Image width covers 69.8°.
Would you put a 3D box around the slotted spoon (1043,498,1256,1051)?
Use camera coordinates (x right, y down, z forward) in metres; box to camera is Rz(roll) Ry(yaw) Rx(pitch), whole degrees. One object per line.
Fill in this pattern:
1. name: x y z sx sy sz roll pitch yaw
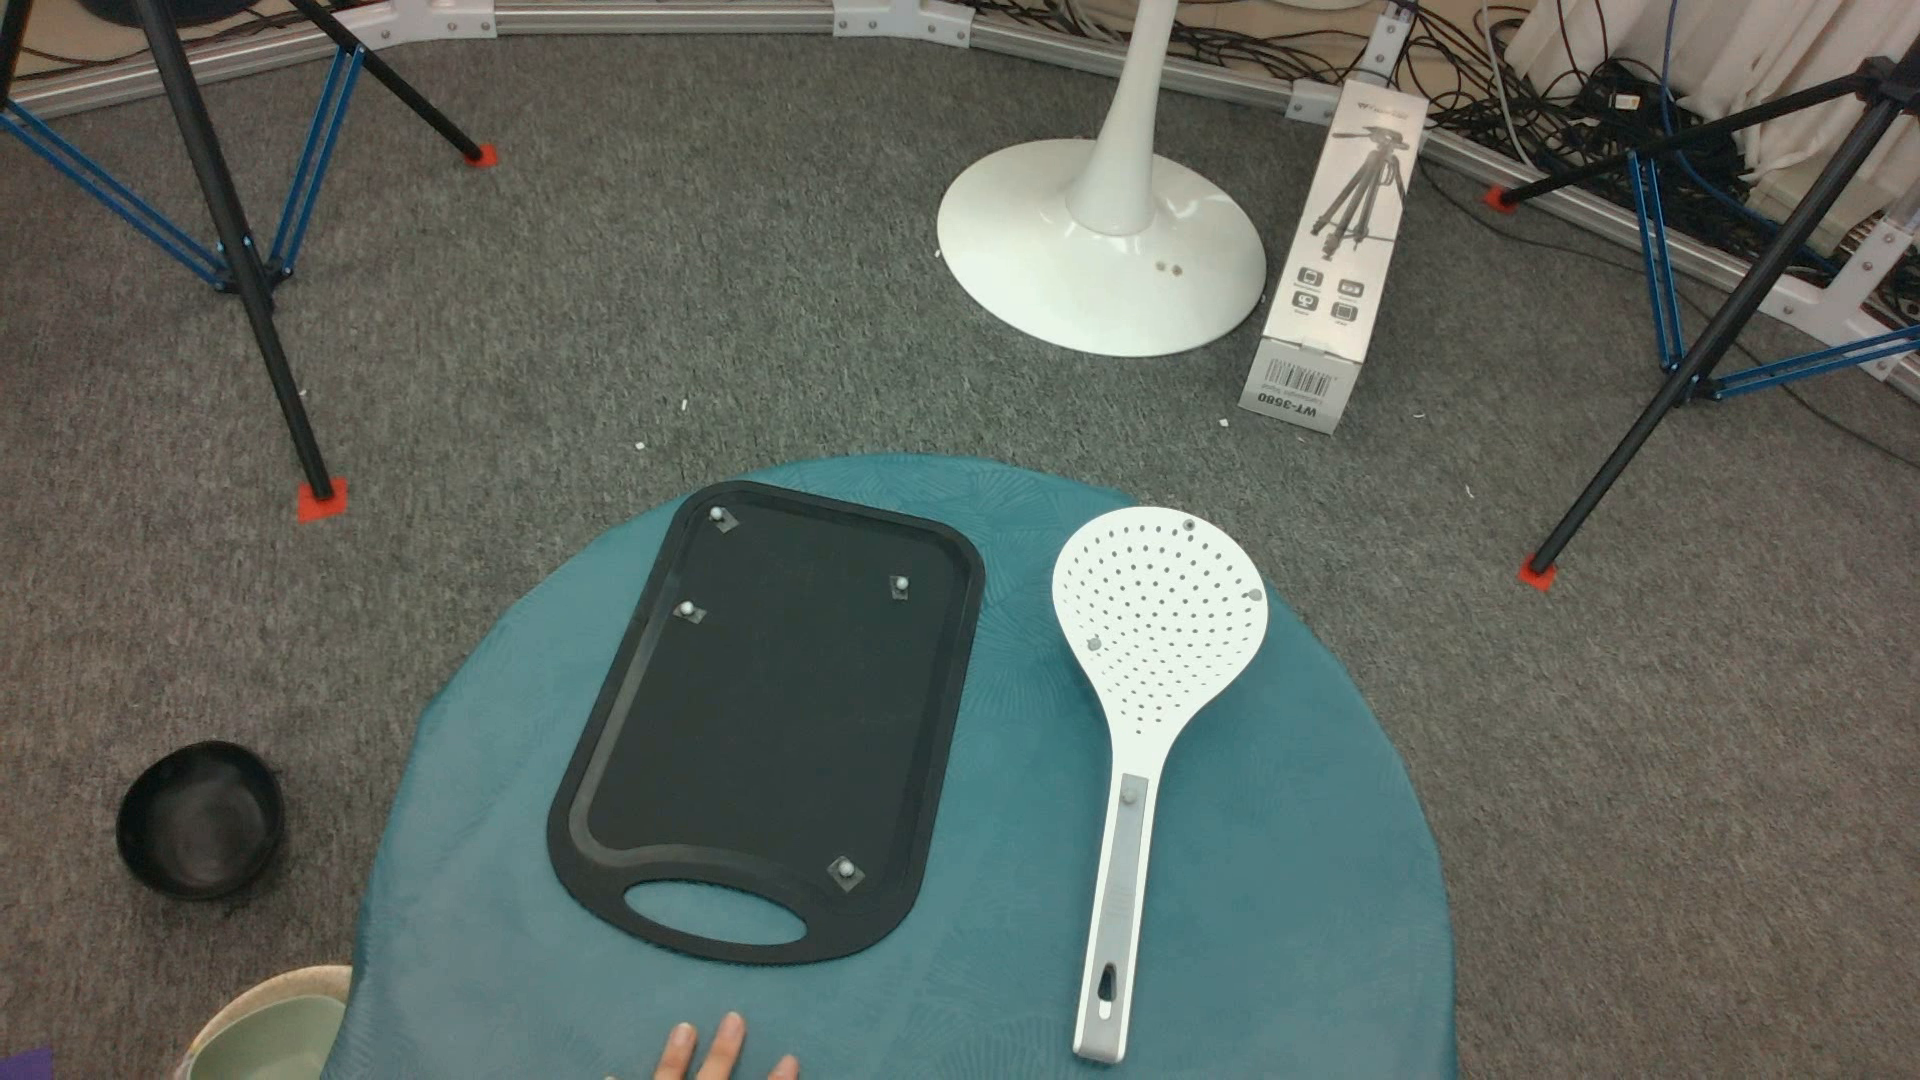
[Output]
1. slotted spoon: 0.097 0.121 0.809 0.136 0.045 0.351 12 51 3

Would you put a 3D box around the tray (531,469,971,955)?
1. tray: -0.115 0.089 0.823 0.211 0.010 0.327 12 51 1
